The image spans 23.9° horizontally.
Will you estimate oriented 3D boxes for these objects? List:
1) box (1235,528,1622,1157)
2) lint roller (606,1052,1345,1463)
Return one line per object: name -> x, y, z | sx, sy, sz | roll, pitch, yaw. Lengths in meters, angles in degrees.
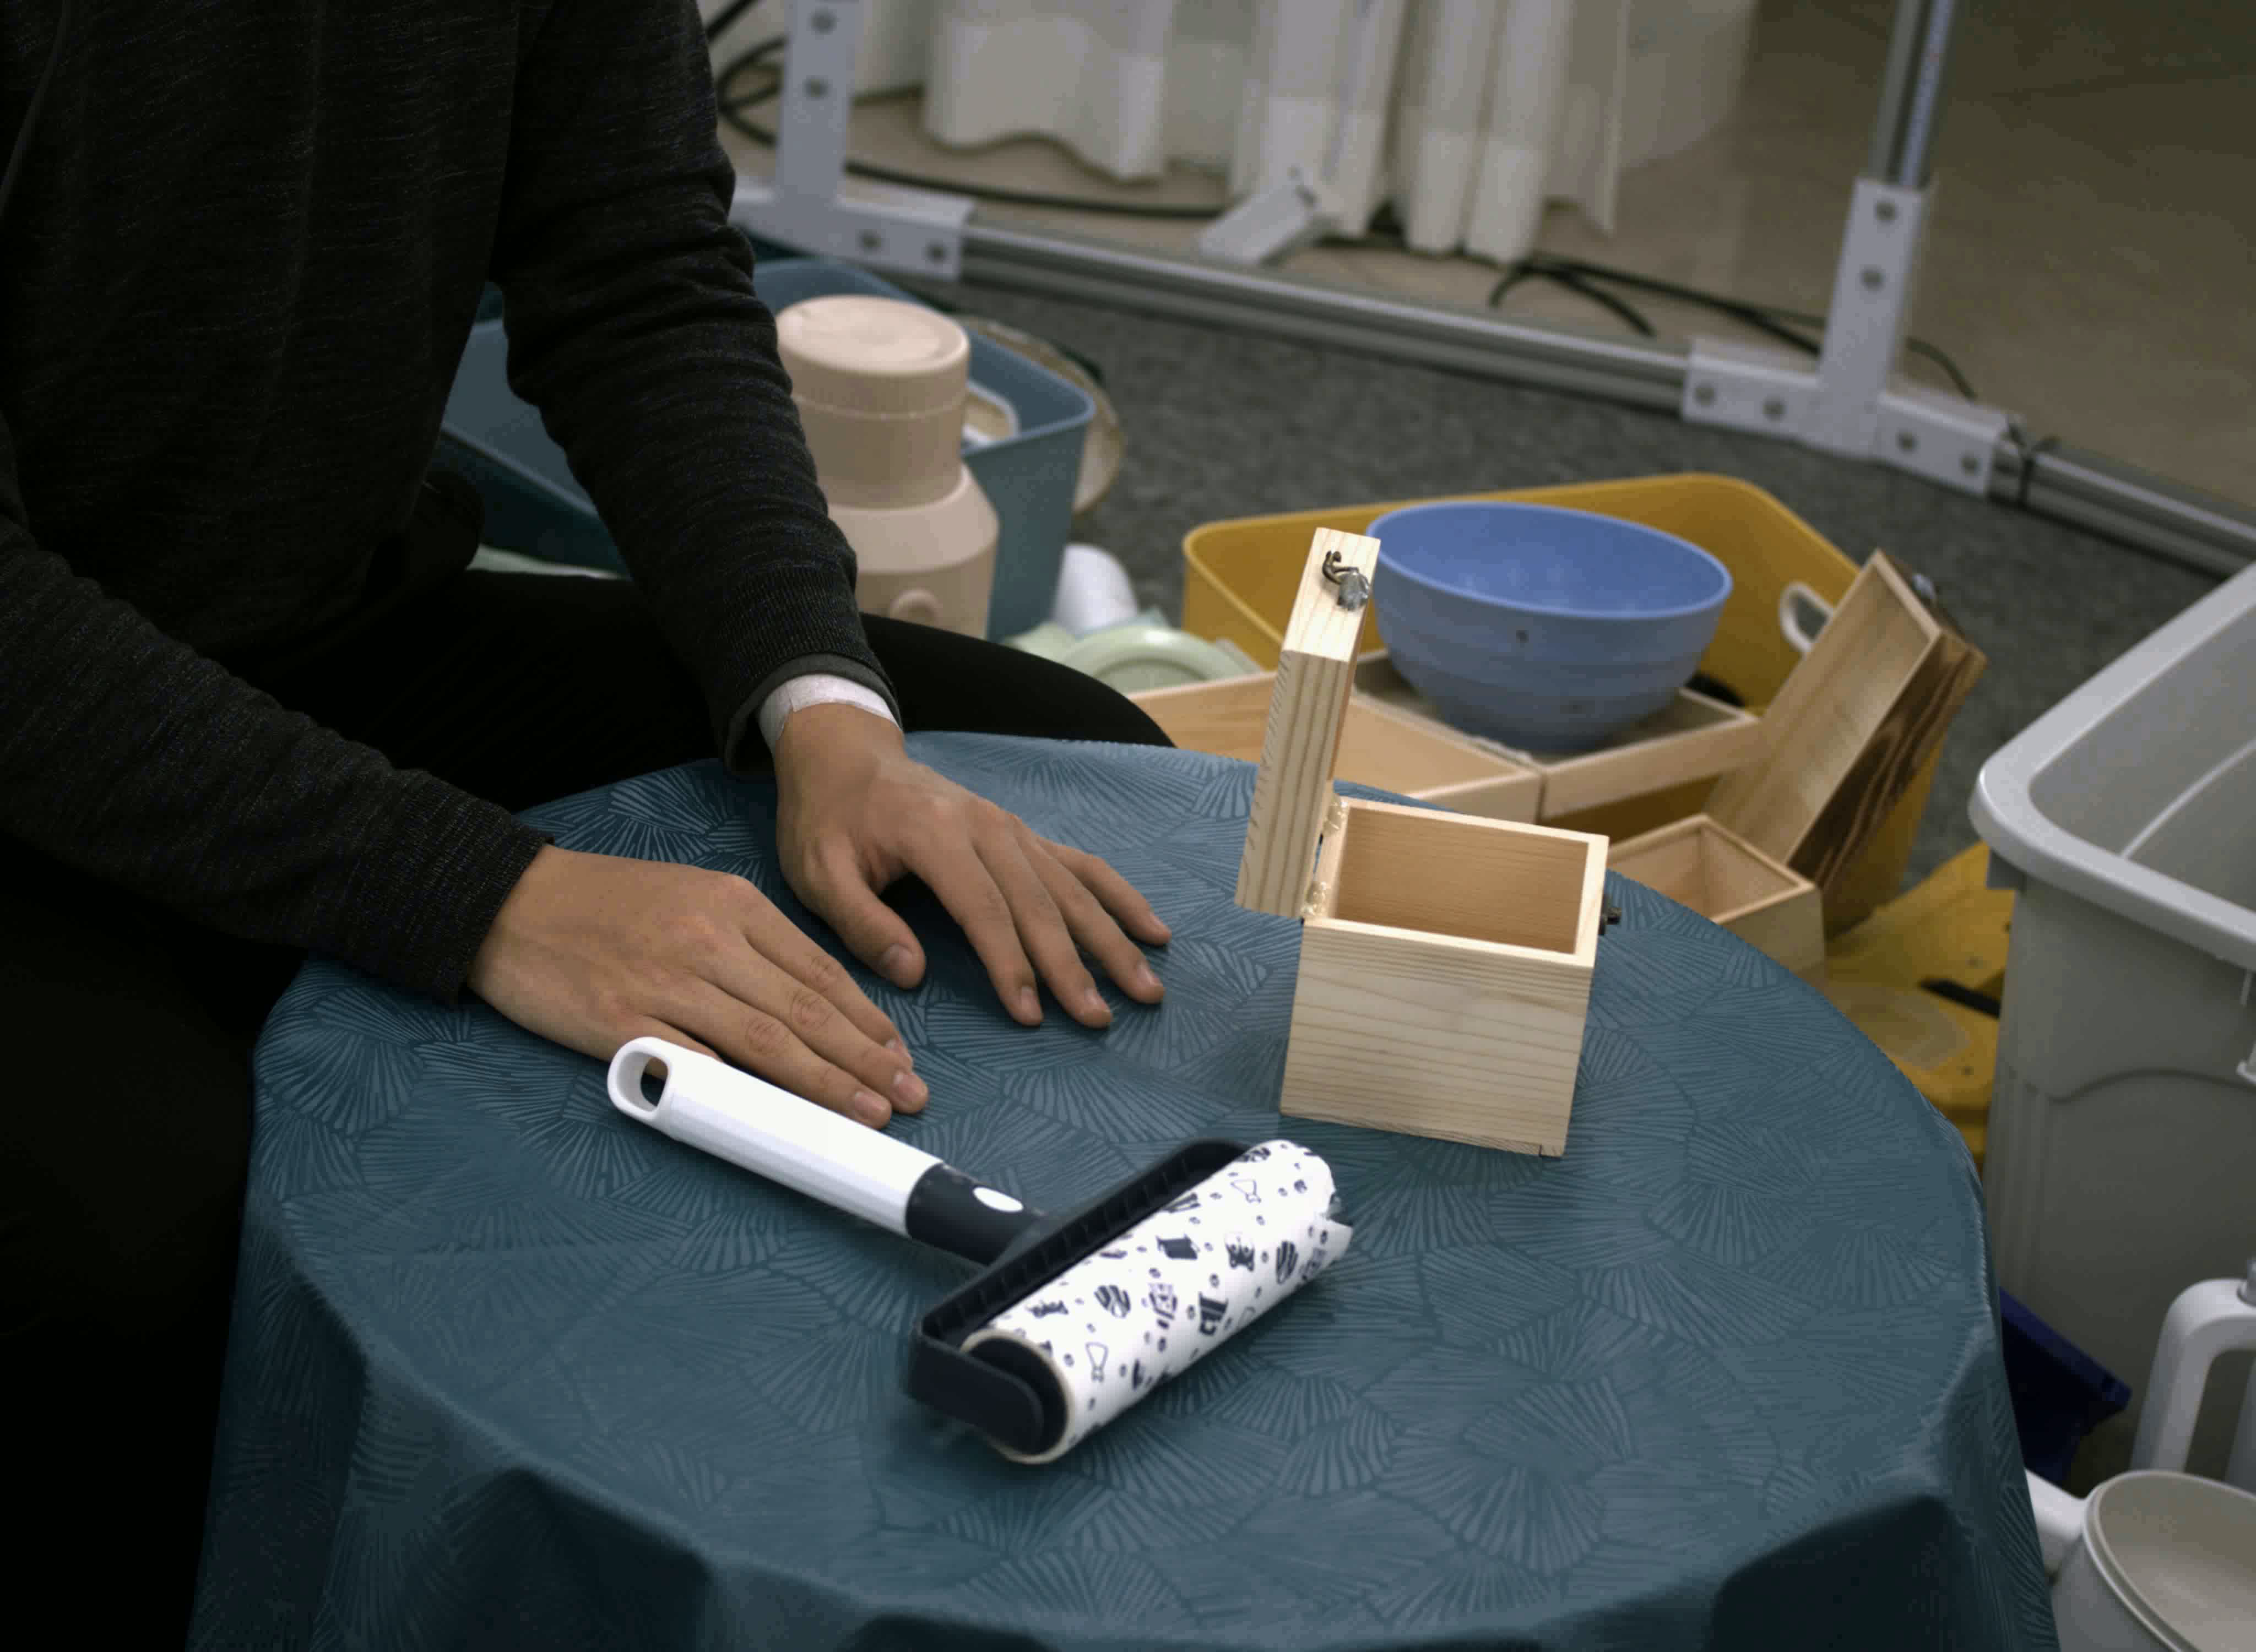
box -> 0.109, 0.005, 1.859 | 0.134, 0.184, 0.103 | 8, 26, 5
lint roller -> -0.074, 0.119, 1.749 | 0.248, 0.050, 0.176 | 22, 31, 29
